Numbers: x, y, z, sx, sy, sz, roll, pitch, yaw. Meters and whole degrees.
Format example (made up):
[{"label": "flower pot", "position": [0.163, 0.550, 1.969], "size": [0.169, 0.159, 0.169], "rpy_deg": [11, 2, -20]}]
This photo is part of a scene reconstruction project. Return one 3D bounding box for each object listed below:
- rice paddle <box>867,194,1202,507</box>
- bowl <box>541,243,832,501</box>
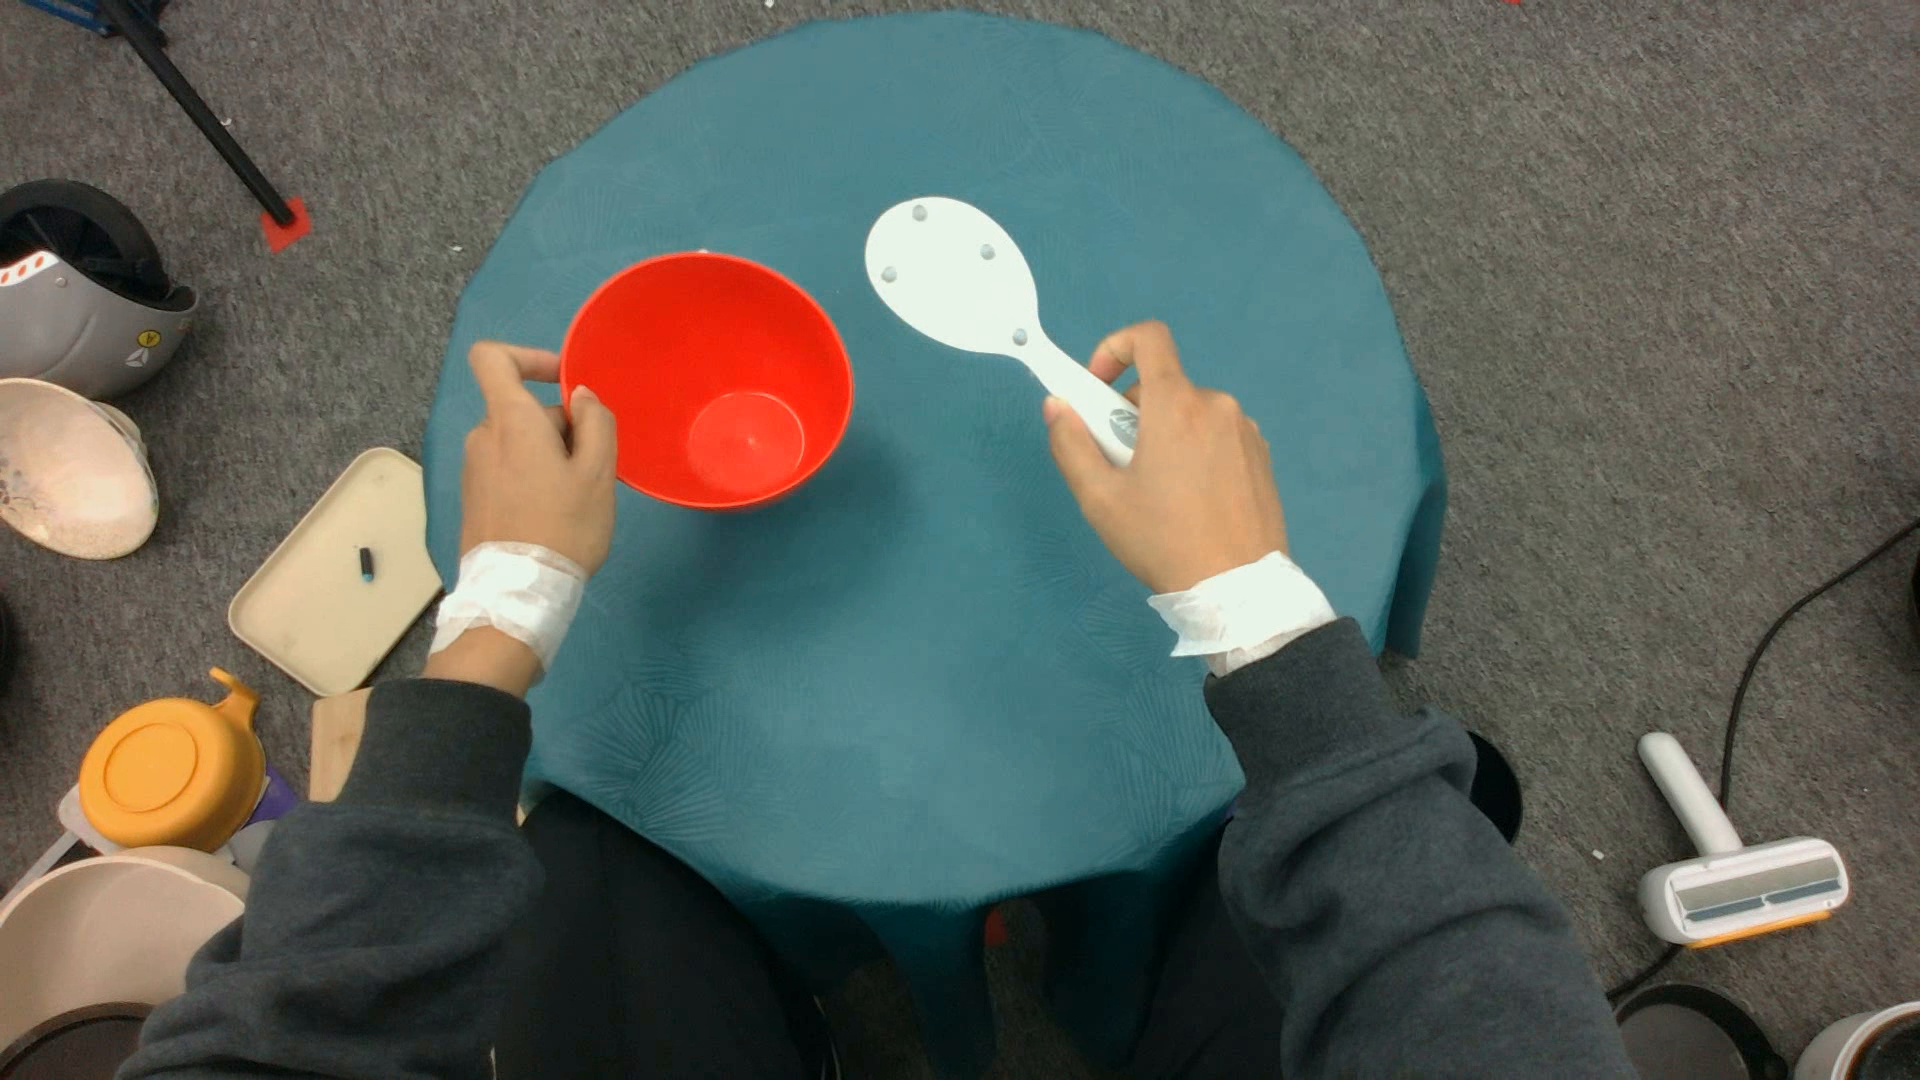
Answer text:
[{"label": "rice paddle", "position": [0.033, -0.097, 0.667], "size": [0.069, 0.029, 0.205], "rpy_deg": [-41, 77, -14]}, {"label": "bowl", "position": [-0.144, -0.078, 0.756], "size": [0.148, 0.104, 0.148], "rpy_deg": [2, 70, -4]}]
